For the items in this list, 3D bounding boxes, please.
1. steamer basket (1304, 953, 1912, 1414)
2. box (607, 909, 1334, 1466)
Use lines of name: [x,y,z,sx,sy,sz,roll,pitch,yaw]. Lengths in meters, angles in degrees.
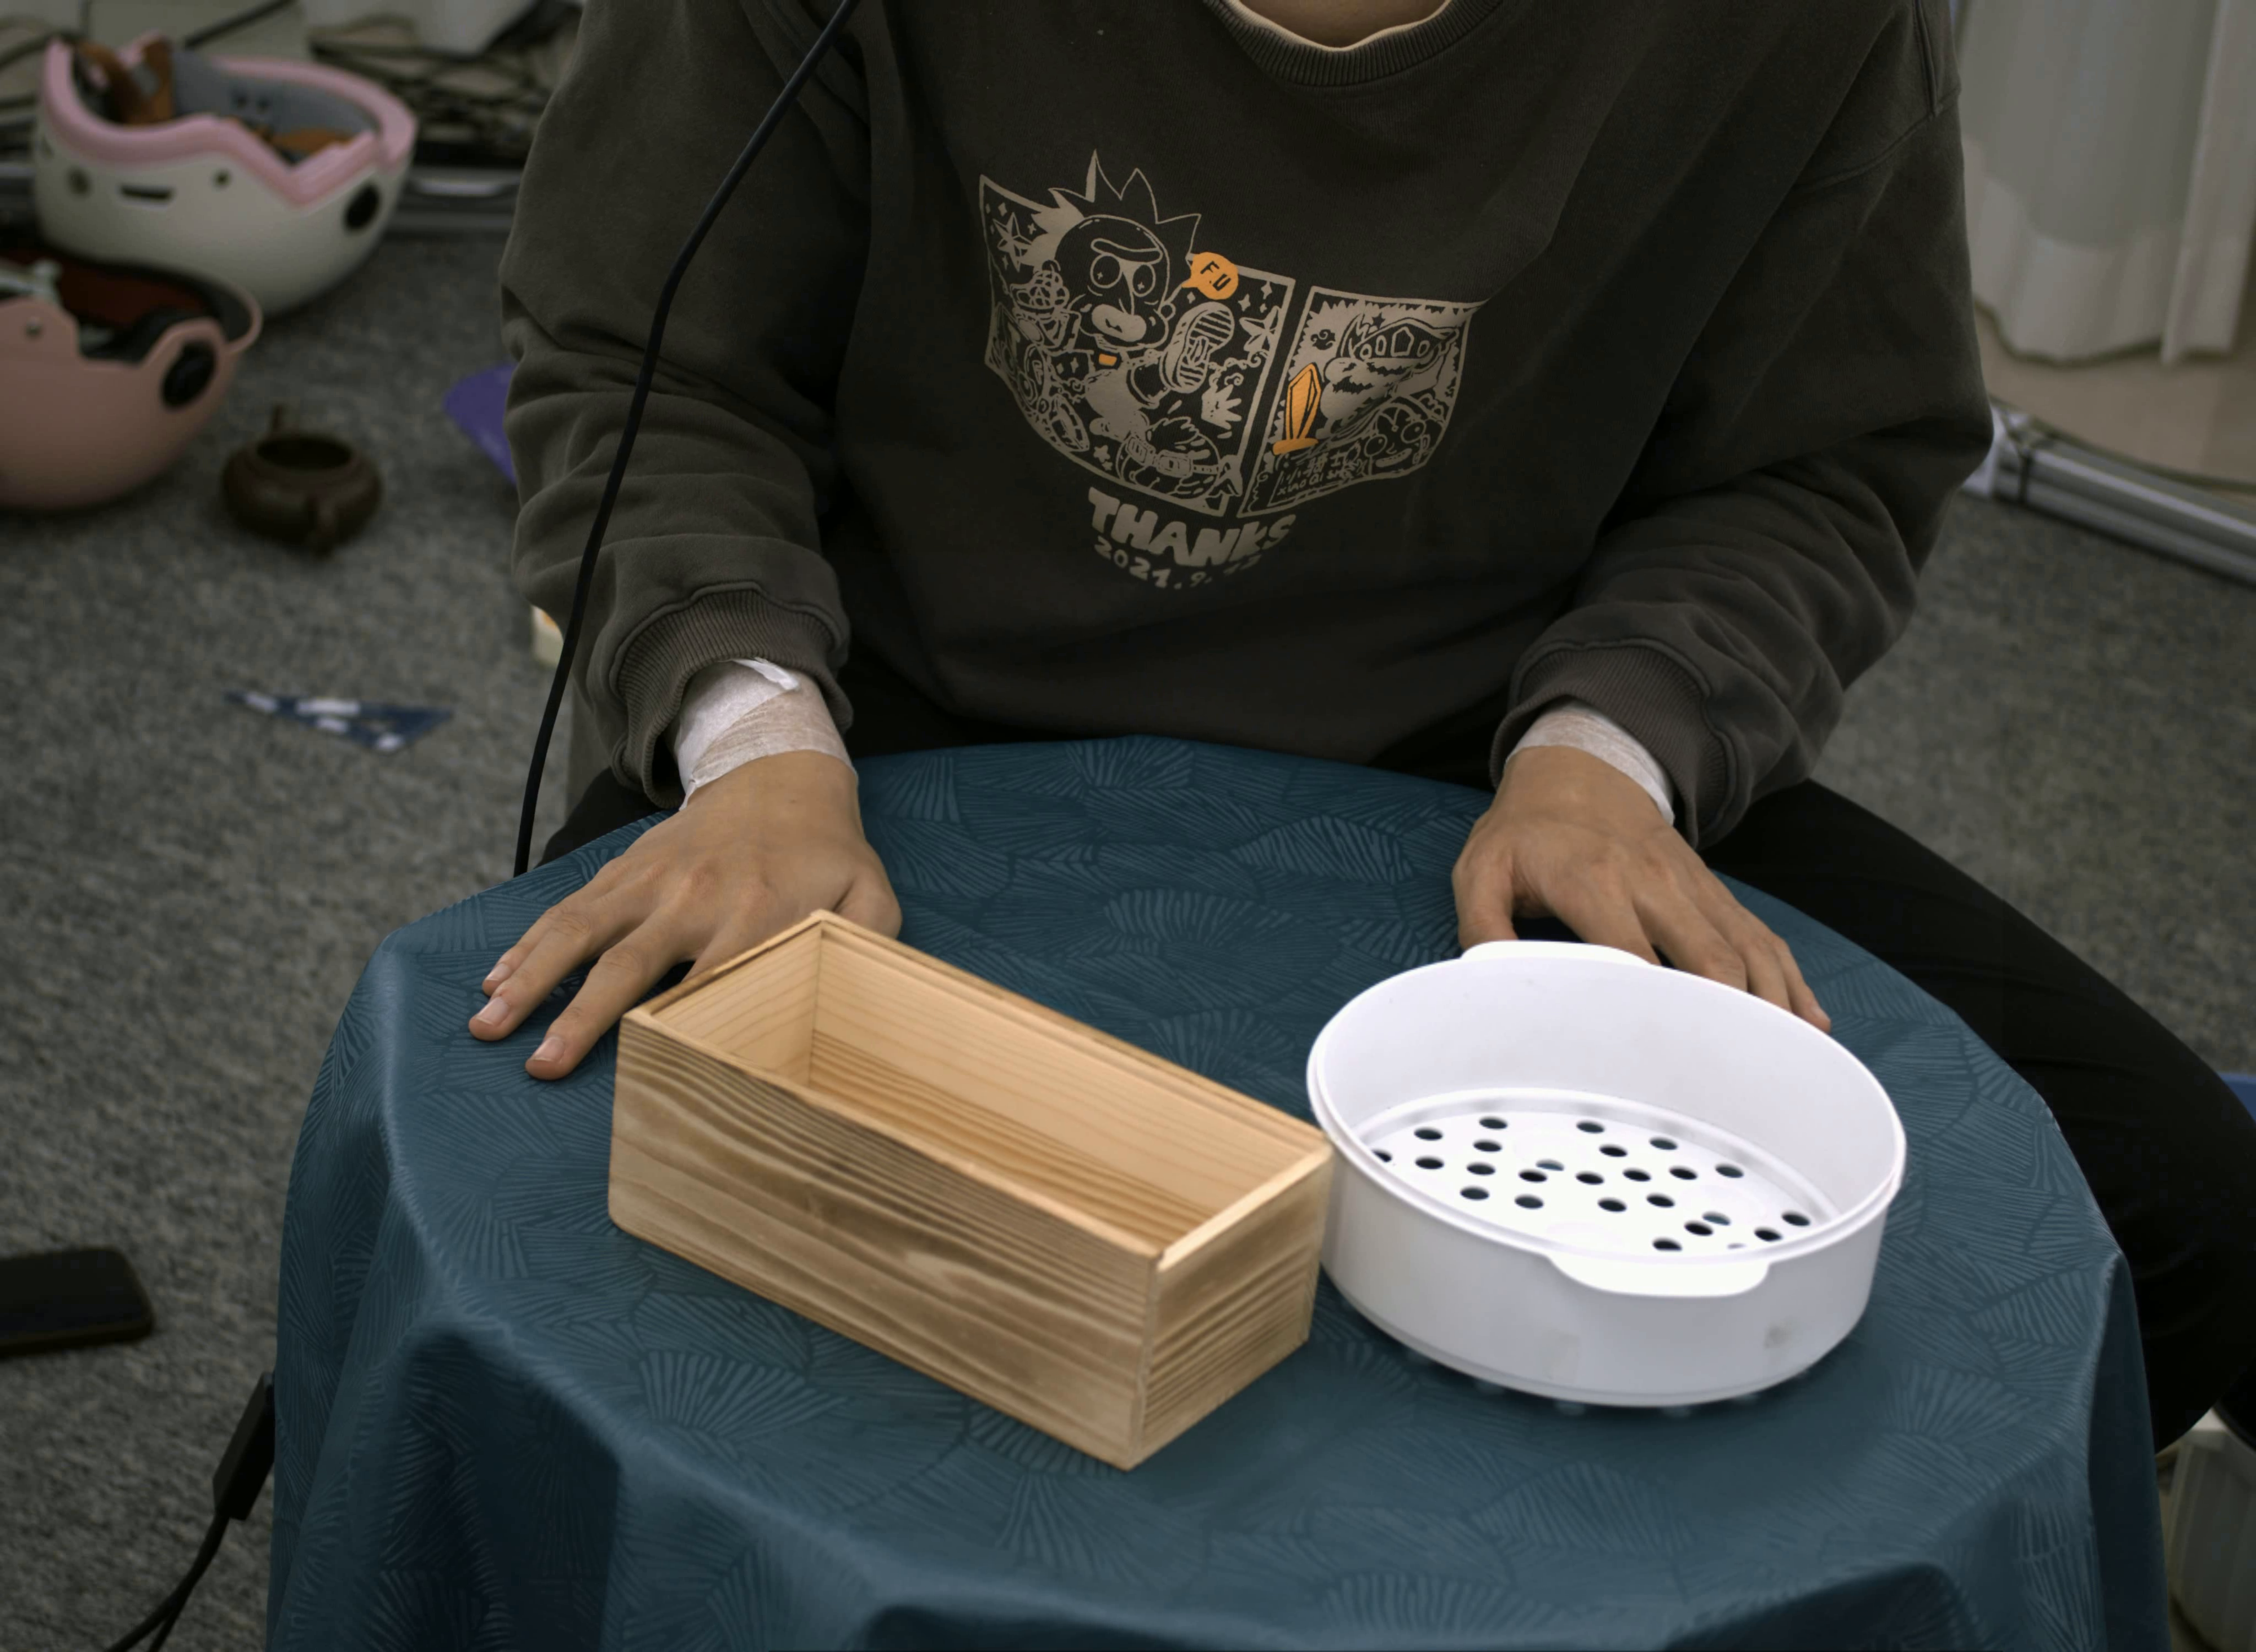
steamer basket: [0.156,0.120,1.770,0.201,0.069,0.232,3,26,-7]
box: [-0.053,0.113,1.723,0.212,0.080,0.107,22,30,29]
